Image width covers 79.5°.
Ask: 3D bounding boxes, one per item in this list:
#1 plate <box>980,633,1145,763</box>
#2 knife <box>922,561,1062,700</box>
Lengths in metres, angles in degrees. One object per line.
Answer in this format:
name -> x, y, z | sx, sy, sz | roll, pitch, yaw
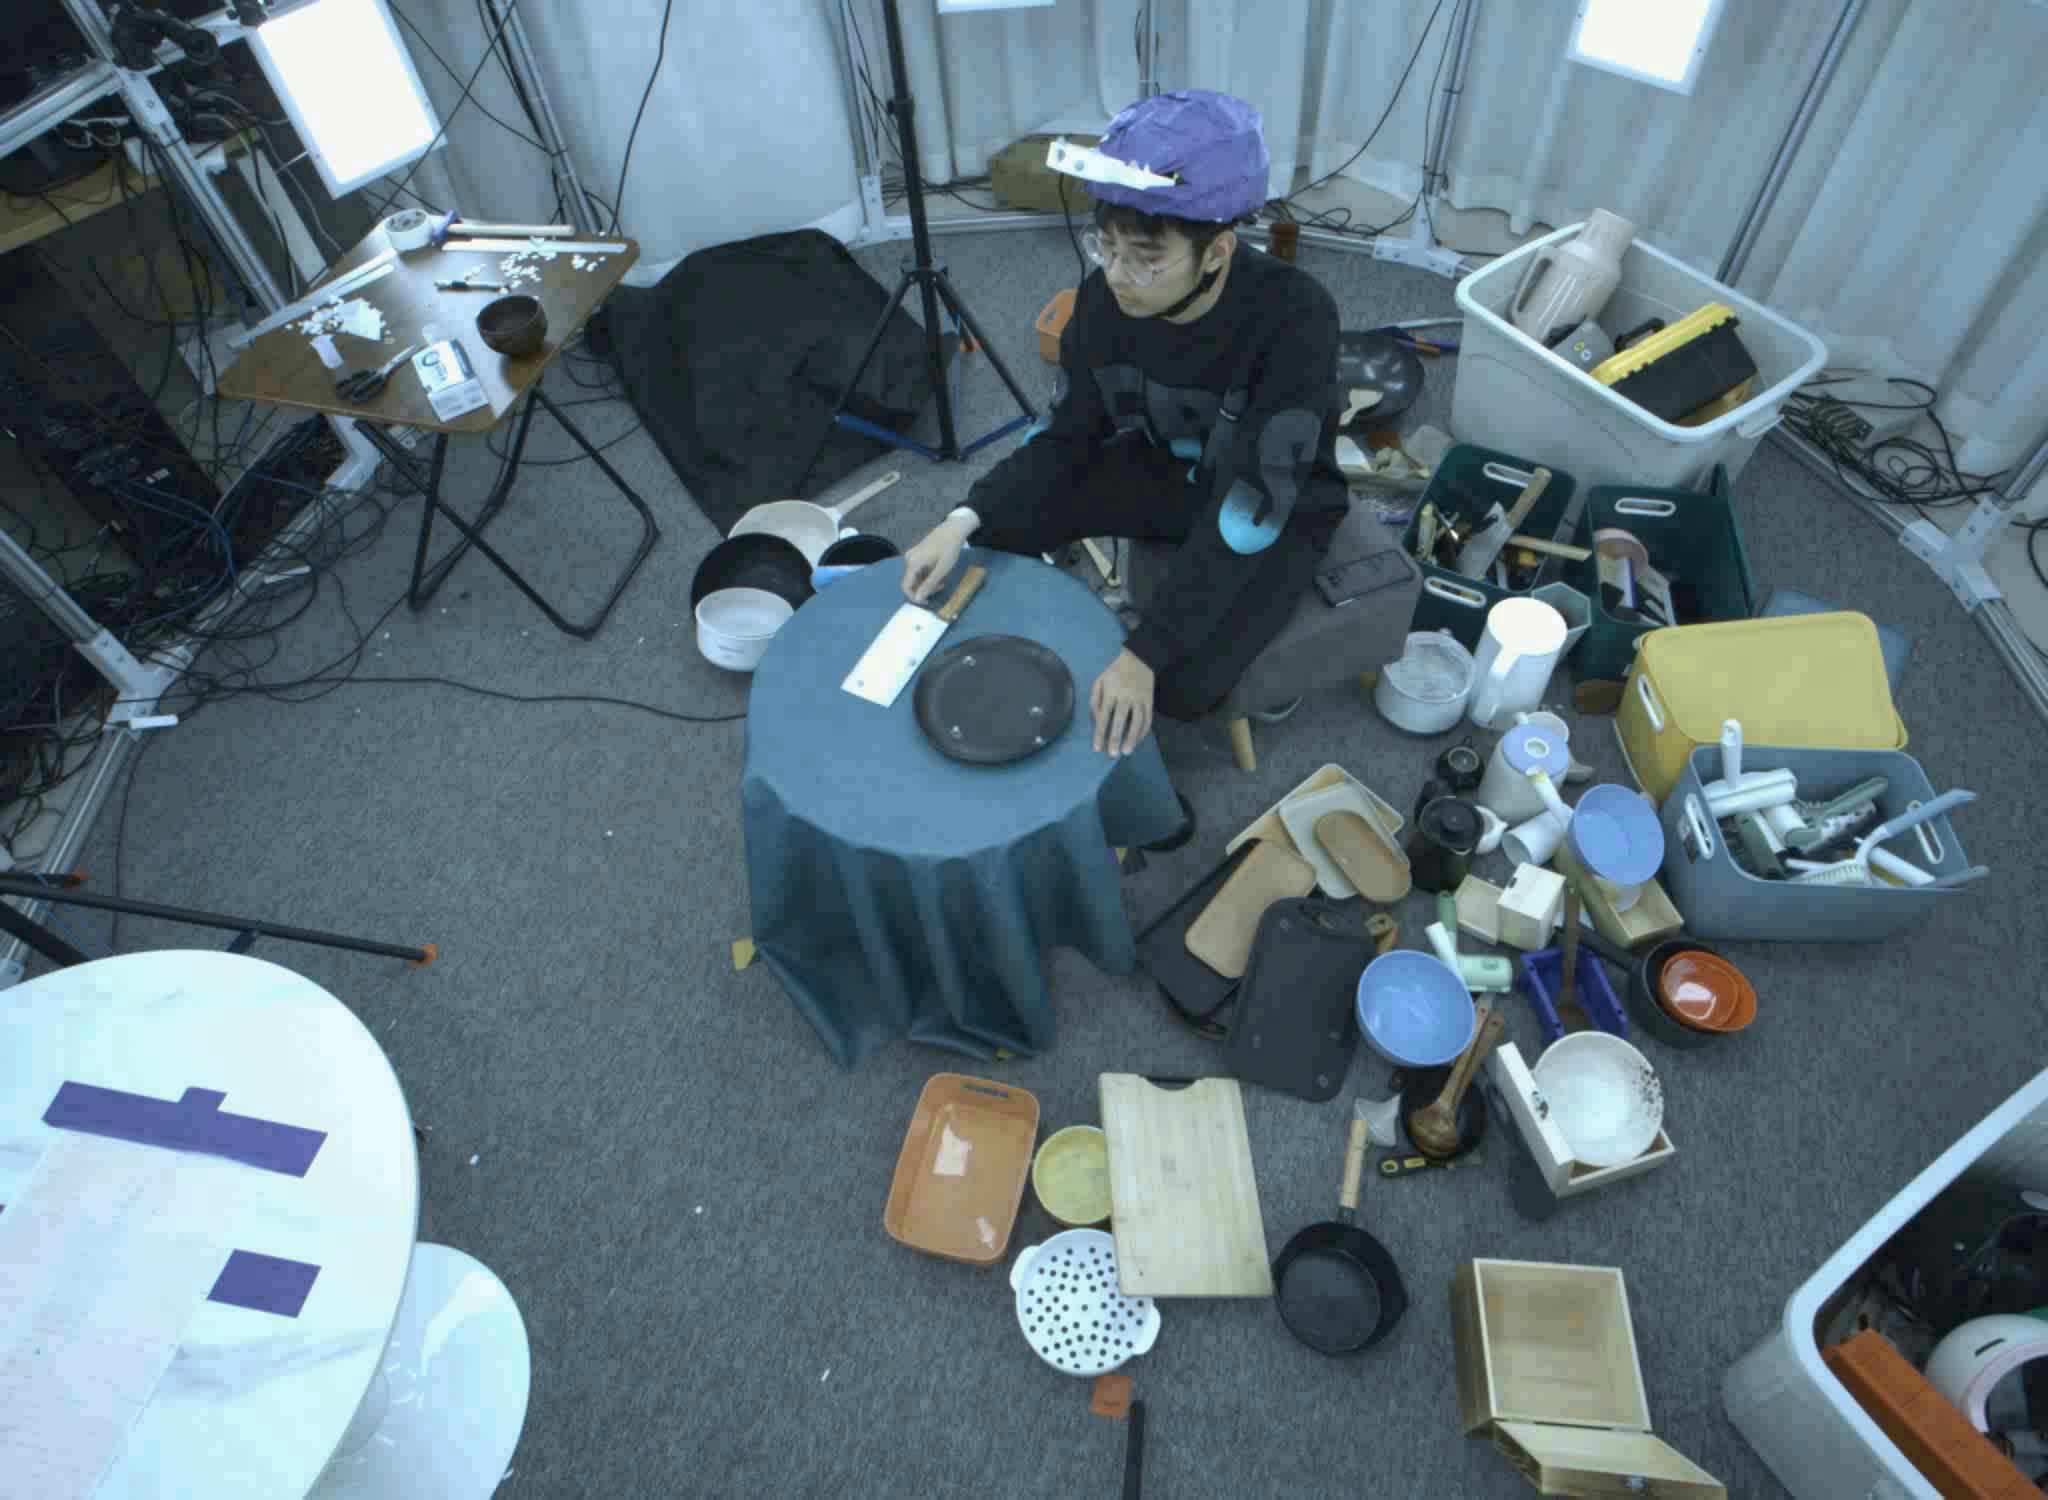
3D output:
plate -> 0.057, -0.076, 1.824 | 0.244, 0.024, 0.242 | 0, 55, 2
knife -> -0.053, -0.199, 1.920 | 0.091, 0.021, 0.307 | 26, 62, 21
